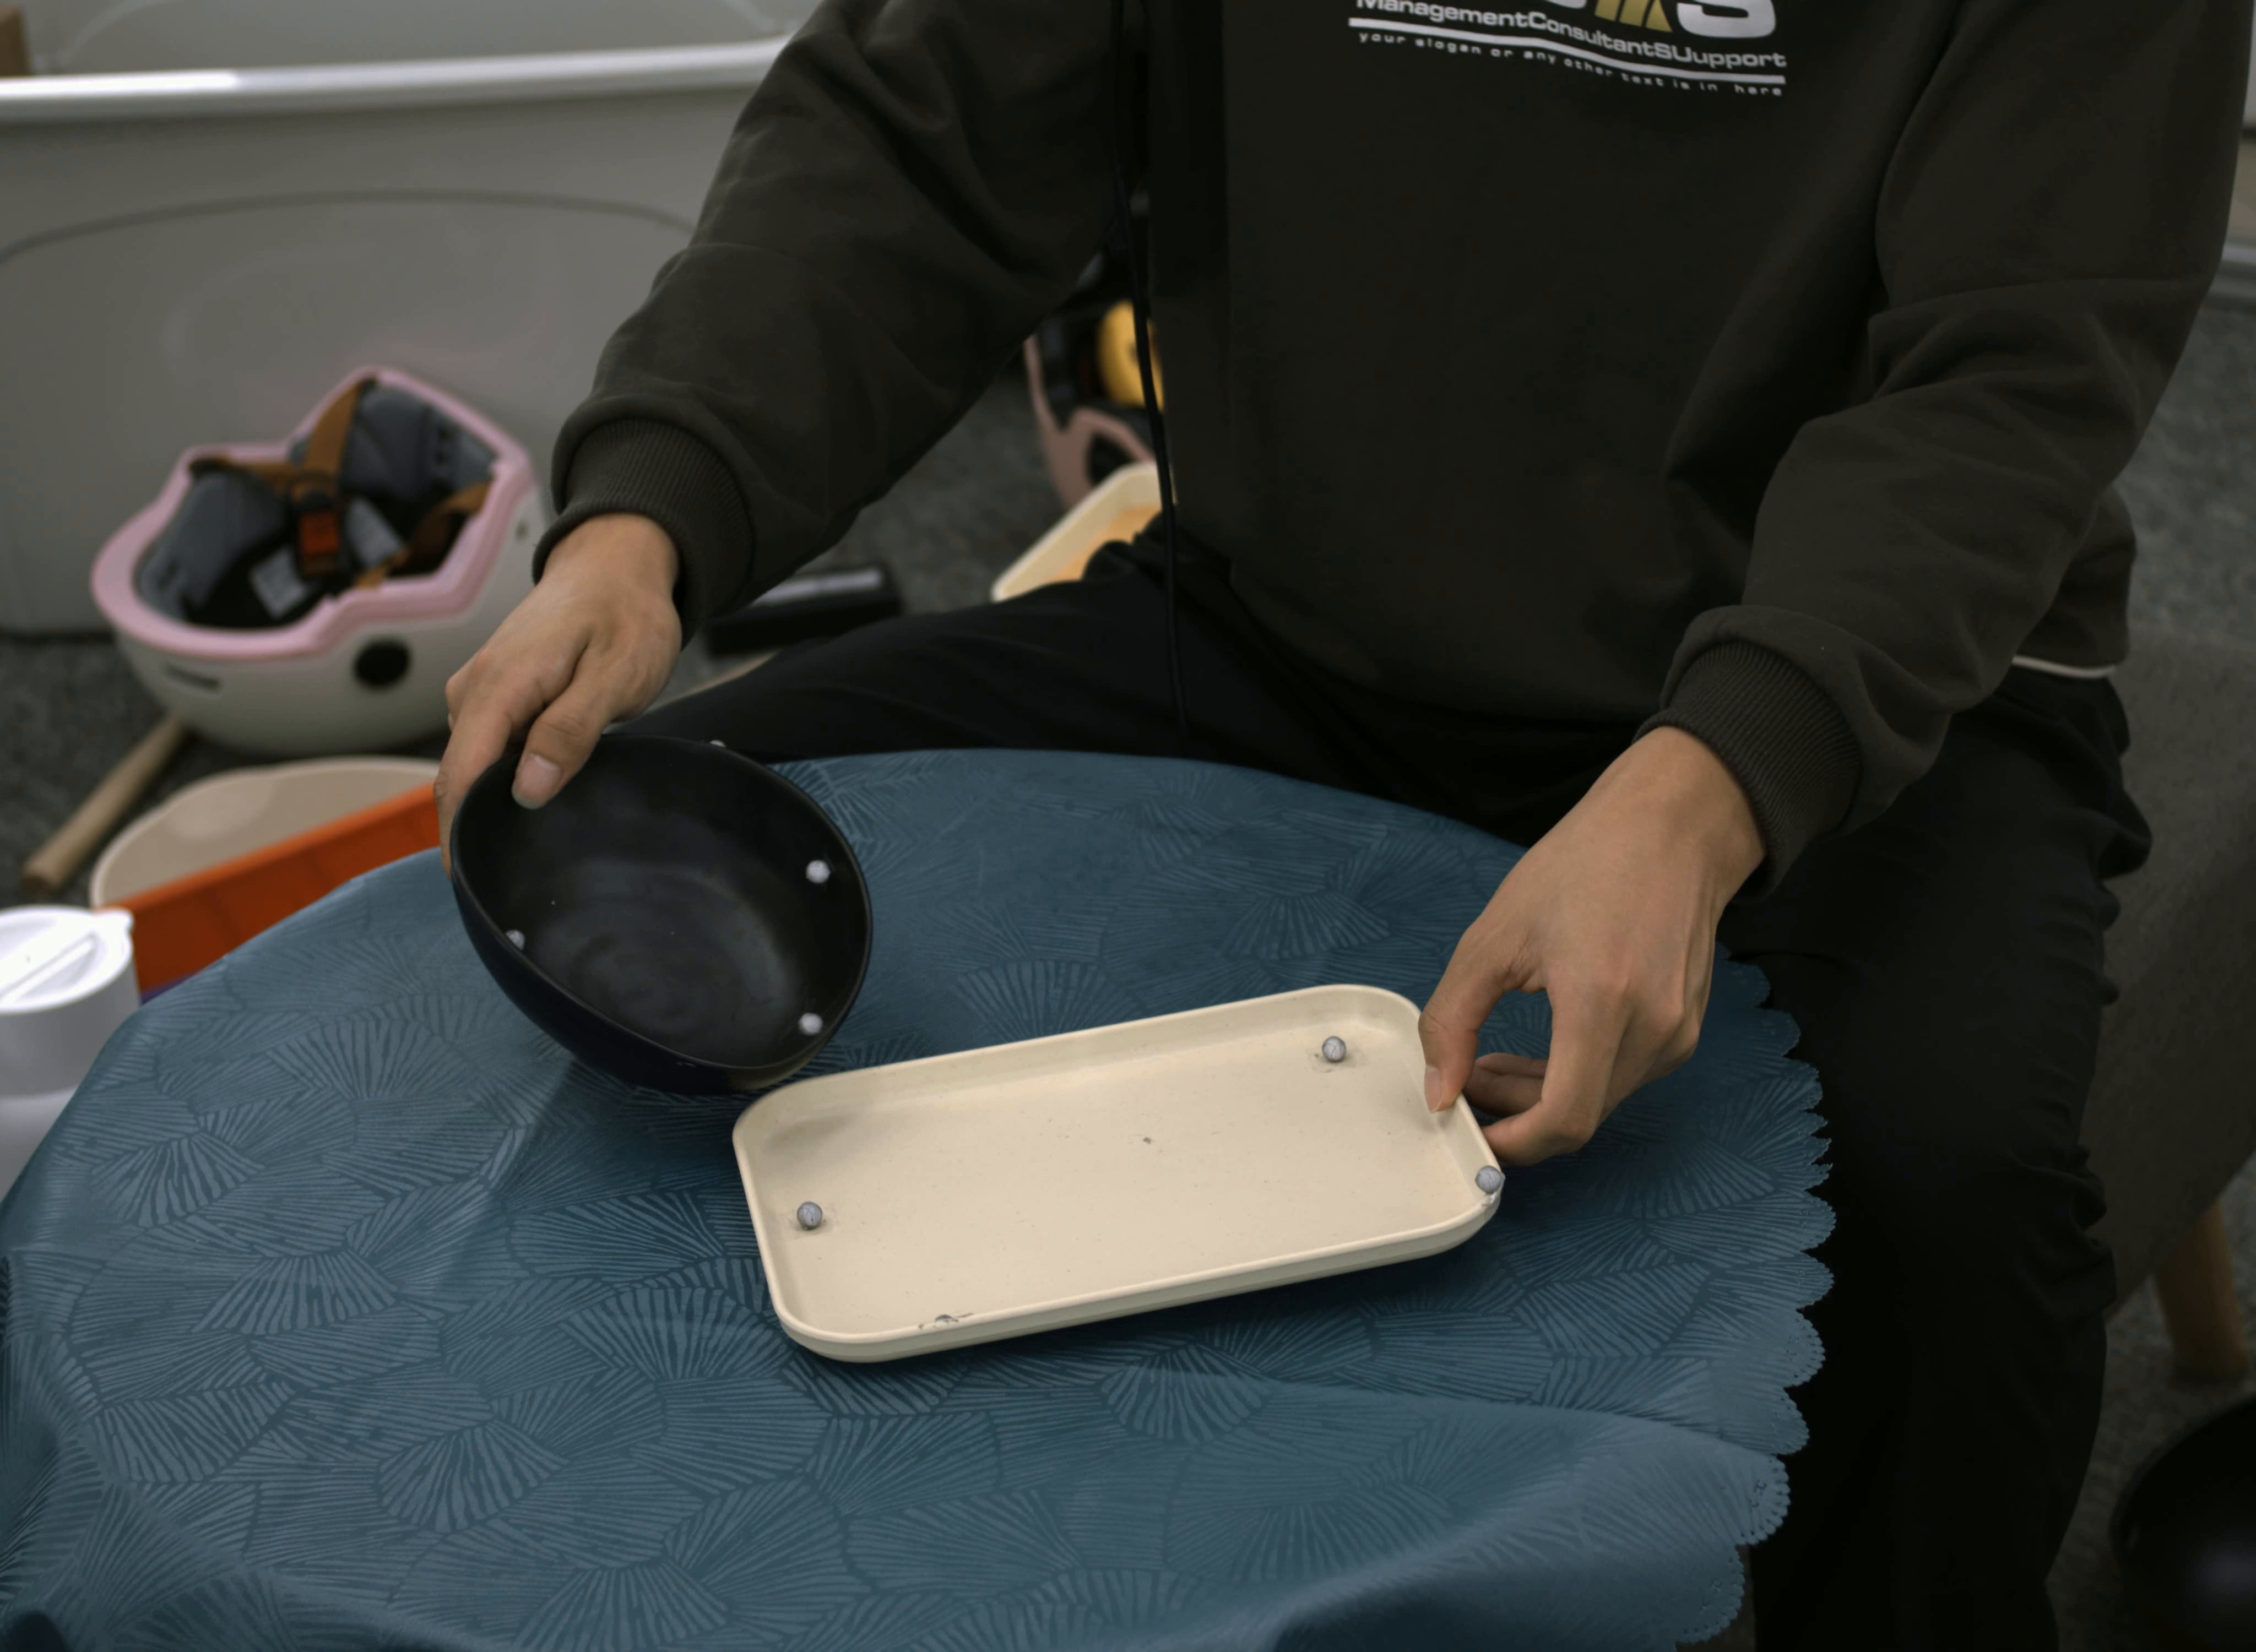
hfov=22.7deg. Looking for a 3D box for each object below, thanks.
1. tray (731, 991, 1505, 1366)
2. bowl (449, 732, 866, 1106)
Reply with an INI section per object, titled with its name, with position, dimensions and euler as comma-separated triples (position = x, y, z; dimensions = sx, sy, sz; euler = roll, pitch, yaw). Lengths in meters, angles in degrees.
[tray]
position = -0.005, 0.116, 1.847
dimensions = 0.239, 0.017, 0.173
euler = -10, 26, -8
[bowl]
position = -0.163, 0.042, 1.938
dimensions = 0.138, 0.065, 0.172
euler = -18, 49, -31
